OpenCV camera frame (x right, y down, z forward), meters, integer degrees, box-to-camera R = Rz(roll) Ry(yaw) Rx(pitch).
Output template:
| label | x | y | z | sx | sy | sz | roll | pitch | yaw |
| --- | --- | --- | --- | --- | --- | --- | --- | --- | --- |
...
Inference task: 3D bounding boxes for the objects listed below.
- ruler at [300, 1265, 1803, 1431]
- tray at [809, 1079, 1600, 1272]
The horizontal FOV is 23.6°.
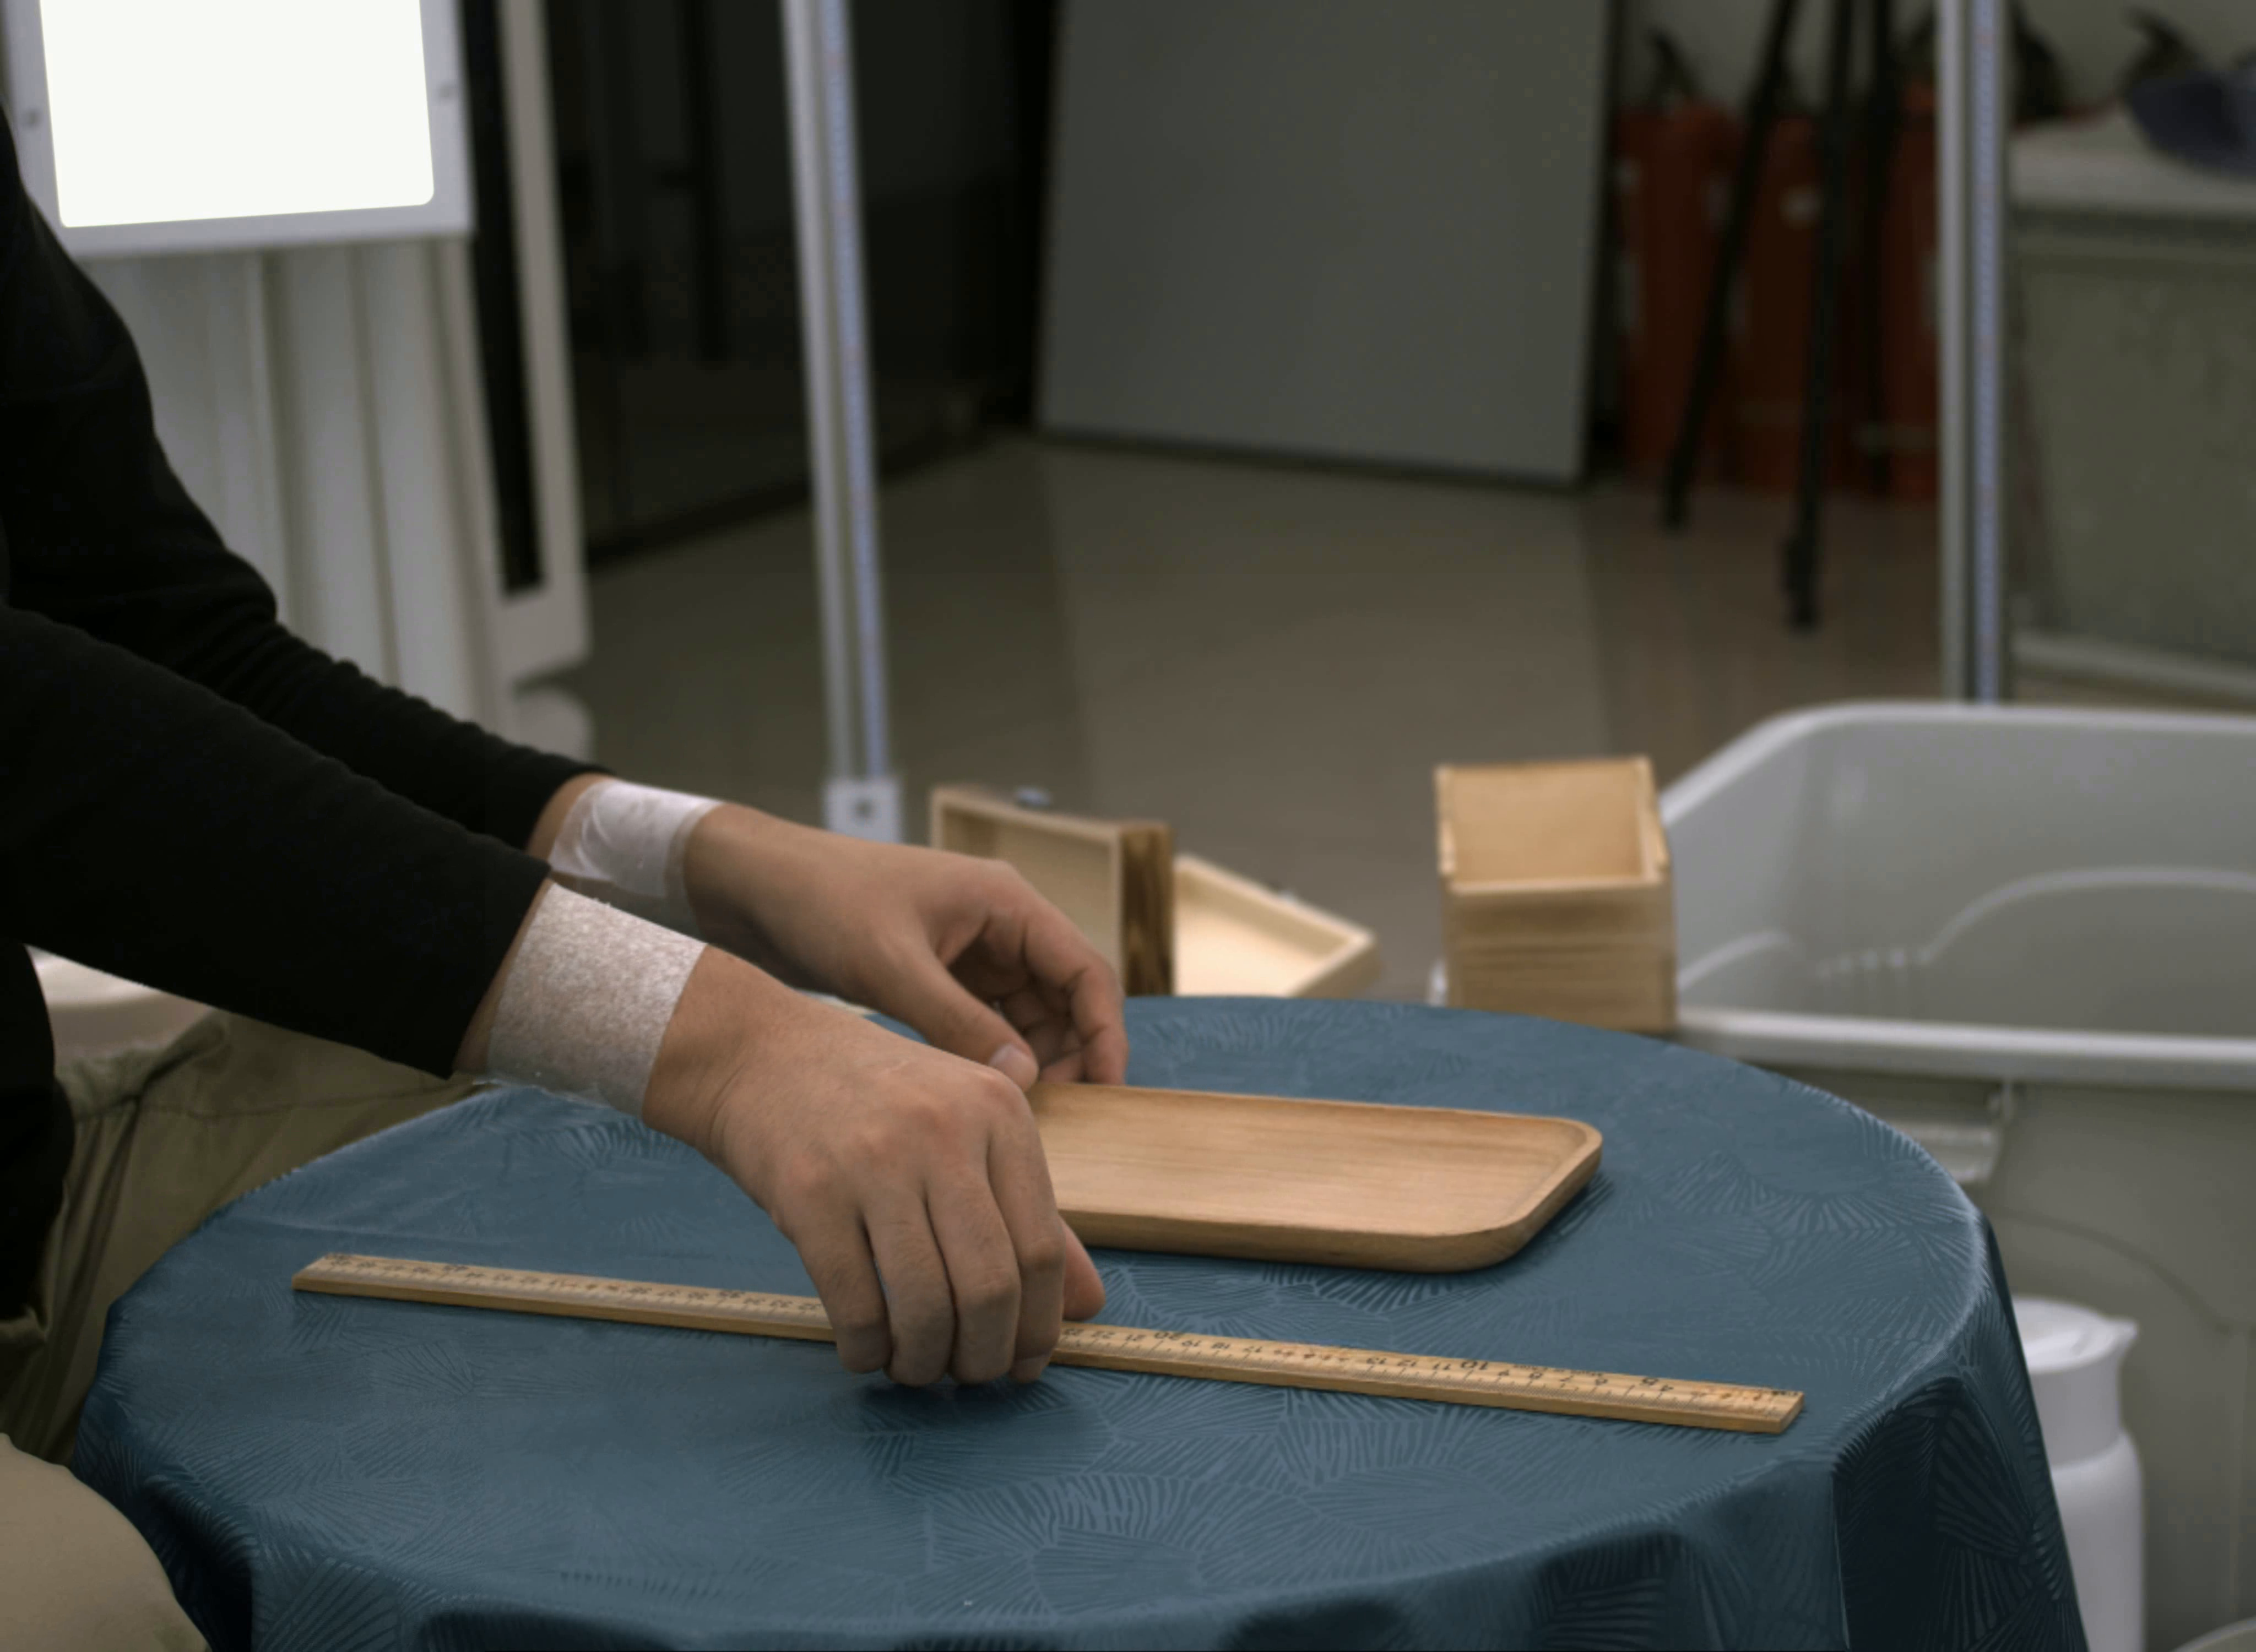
| label | x | y | z | sx | sy | sz | roll | pitch | yaw |
| --- | --- | --- | --- | --- | --- | --- | --- | --- | --- |
| ruler | -0.035 | 0.155 | 1.631 | 0.501 | 0.006 | 0.026 | 3 | 13 | 26 |
| tray | 0.025 | 0.113 | 1.760 | 0.251 | 0.023 | 0.129 | 1 | 13 | 26 |
